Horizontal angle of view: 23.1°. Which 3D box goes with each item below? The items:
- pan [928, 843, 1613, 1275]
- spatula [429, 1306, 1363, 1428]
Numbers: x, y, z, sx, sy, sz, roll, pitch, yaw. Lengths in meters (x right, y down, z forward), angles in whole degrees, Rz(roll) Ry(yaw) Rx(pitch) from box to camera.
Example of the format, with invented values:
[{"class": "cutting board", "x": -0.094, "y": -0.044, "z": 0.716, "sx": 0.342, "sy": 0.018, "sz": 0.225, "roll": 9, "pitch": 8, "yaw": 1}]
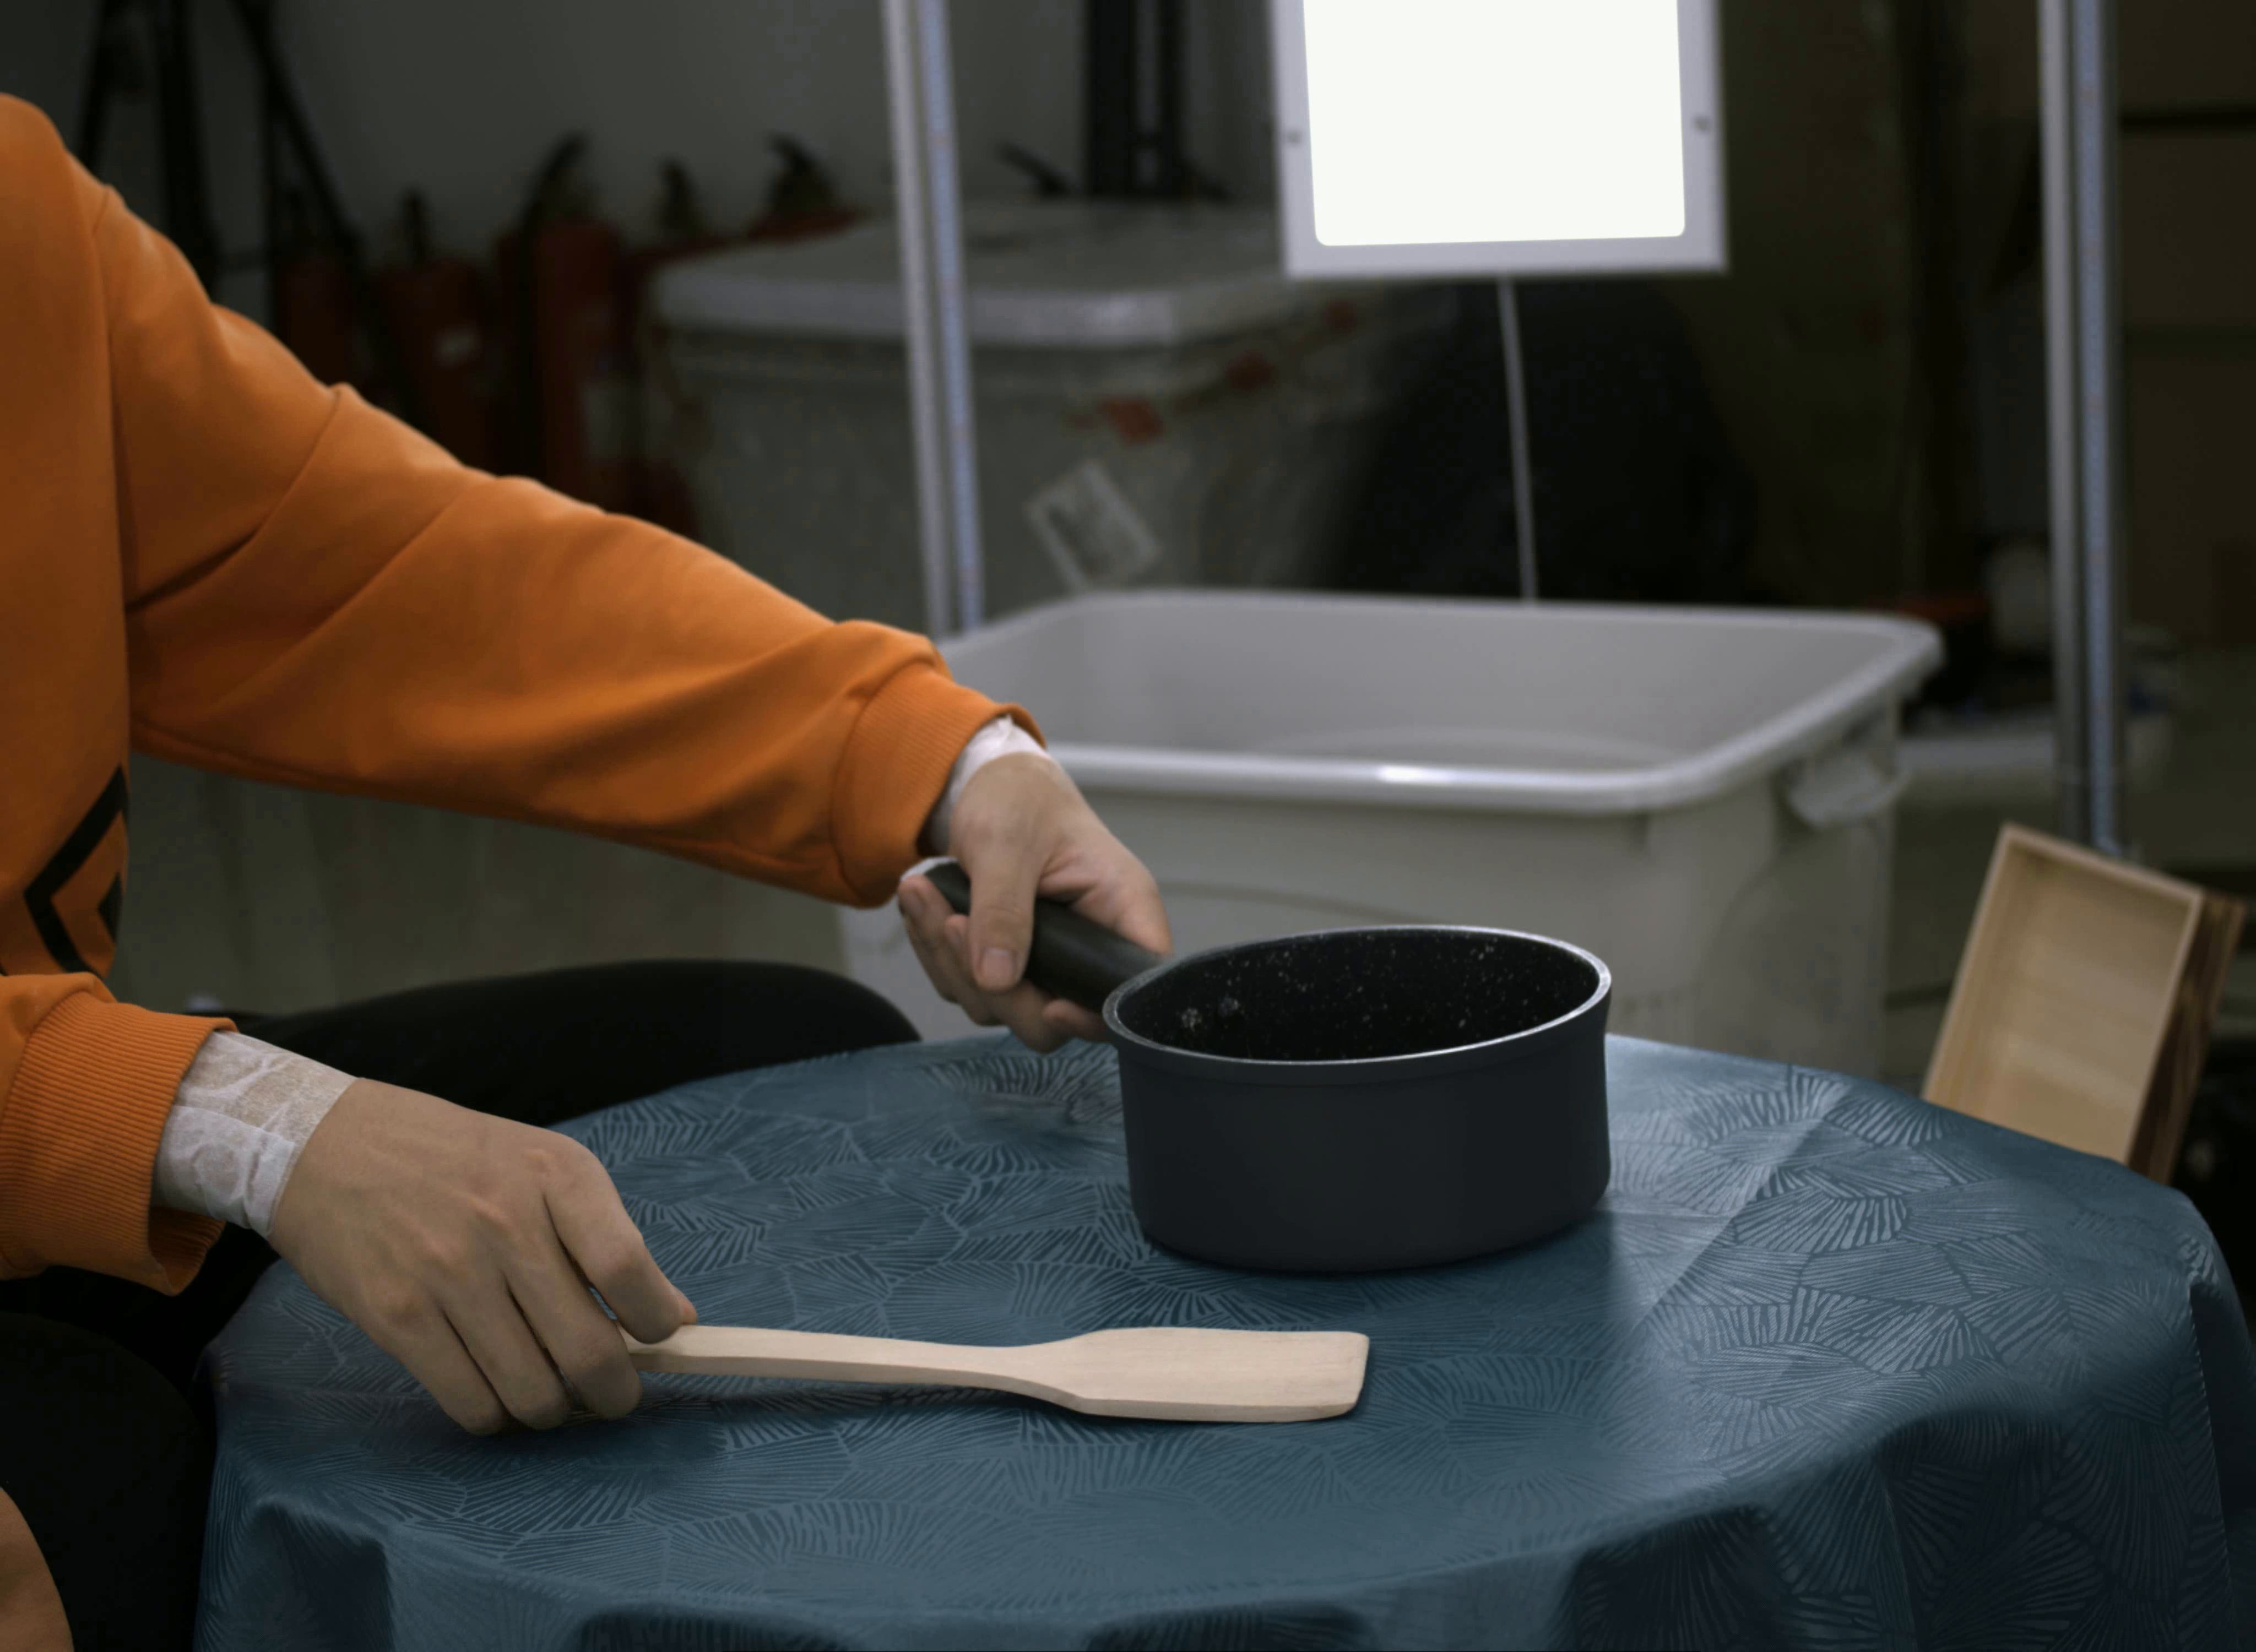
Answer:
[{"class": "pan", "x": 0.033, "y": 0.076, "z": 1.914, "sx": 0.168, "sy": 0.087, "sz": 0.335, "roll": -13, "pitch": 17, "yaw": -33}, {"class": "spatula", "x": -0.074, "y": 0.165, "z": 1.712, "sx": 0.294, "sy": 0.011, "sz": 0.071, "roll": 2, "pitch": 17, "yaw": 9}]
